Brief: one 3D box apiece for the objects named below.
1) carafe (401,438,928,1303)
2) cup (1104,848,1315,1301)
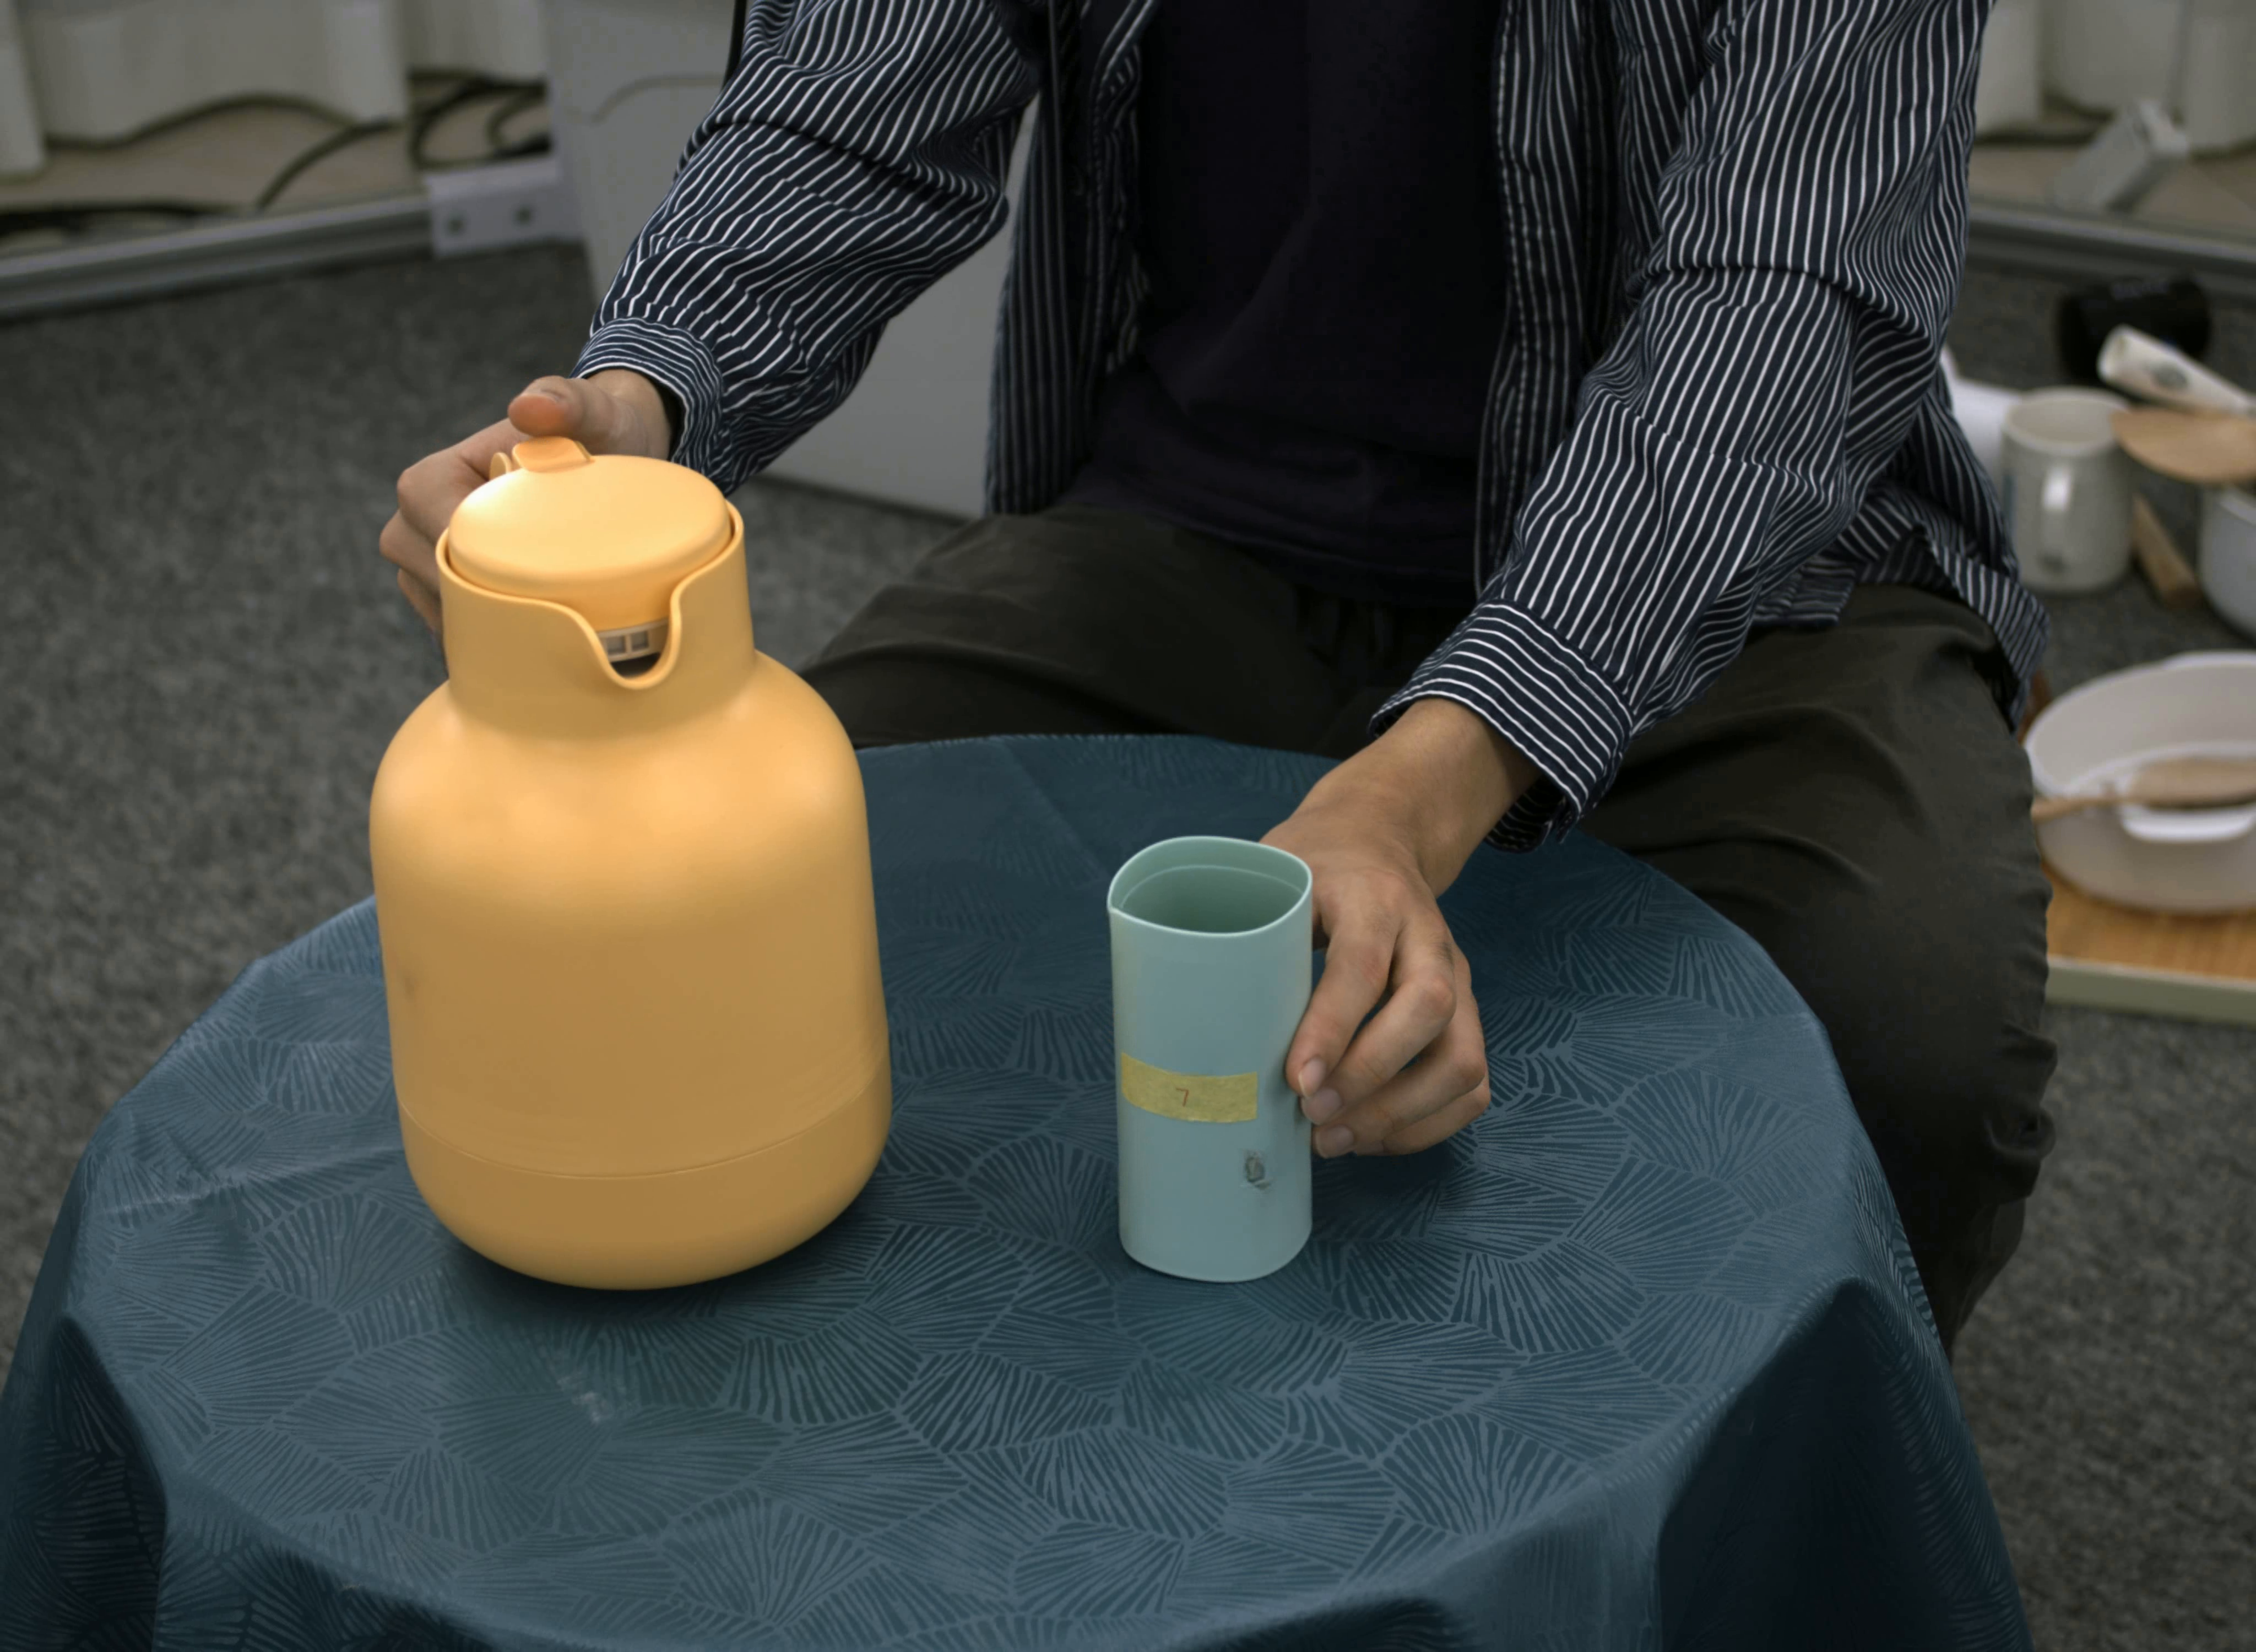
[{"bbox_3d":[-0.156,0.005,1.819,0.164,0.258,0.204,-10,27,-16],"label":"carafe"},{"bbox_3d":[0.028,0.079,1.802,0.066,0.131,0.068,-2,26,1],"label":"cup"}]
